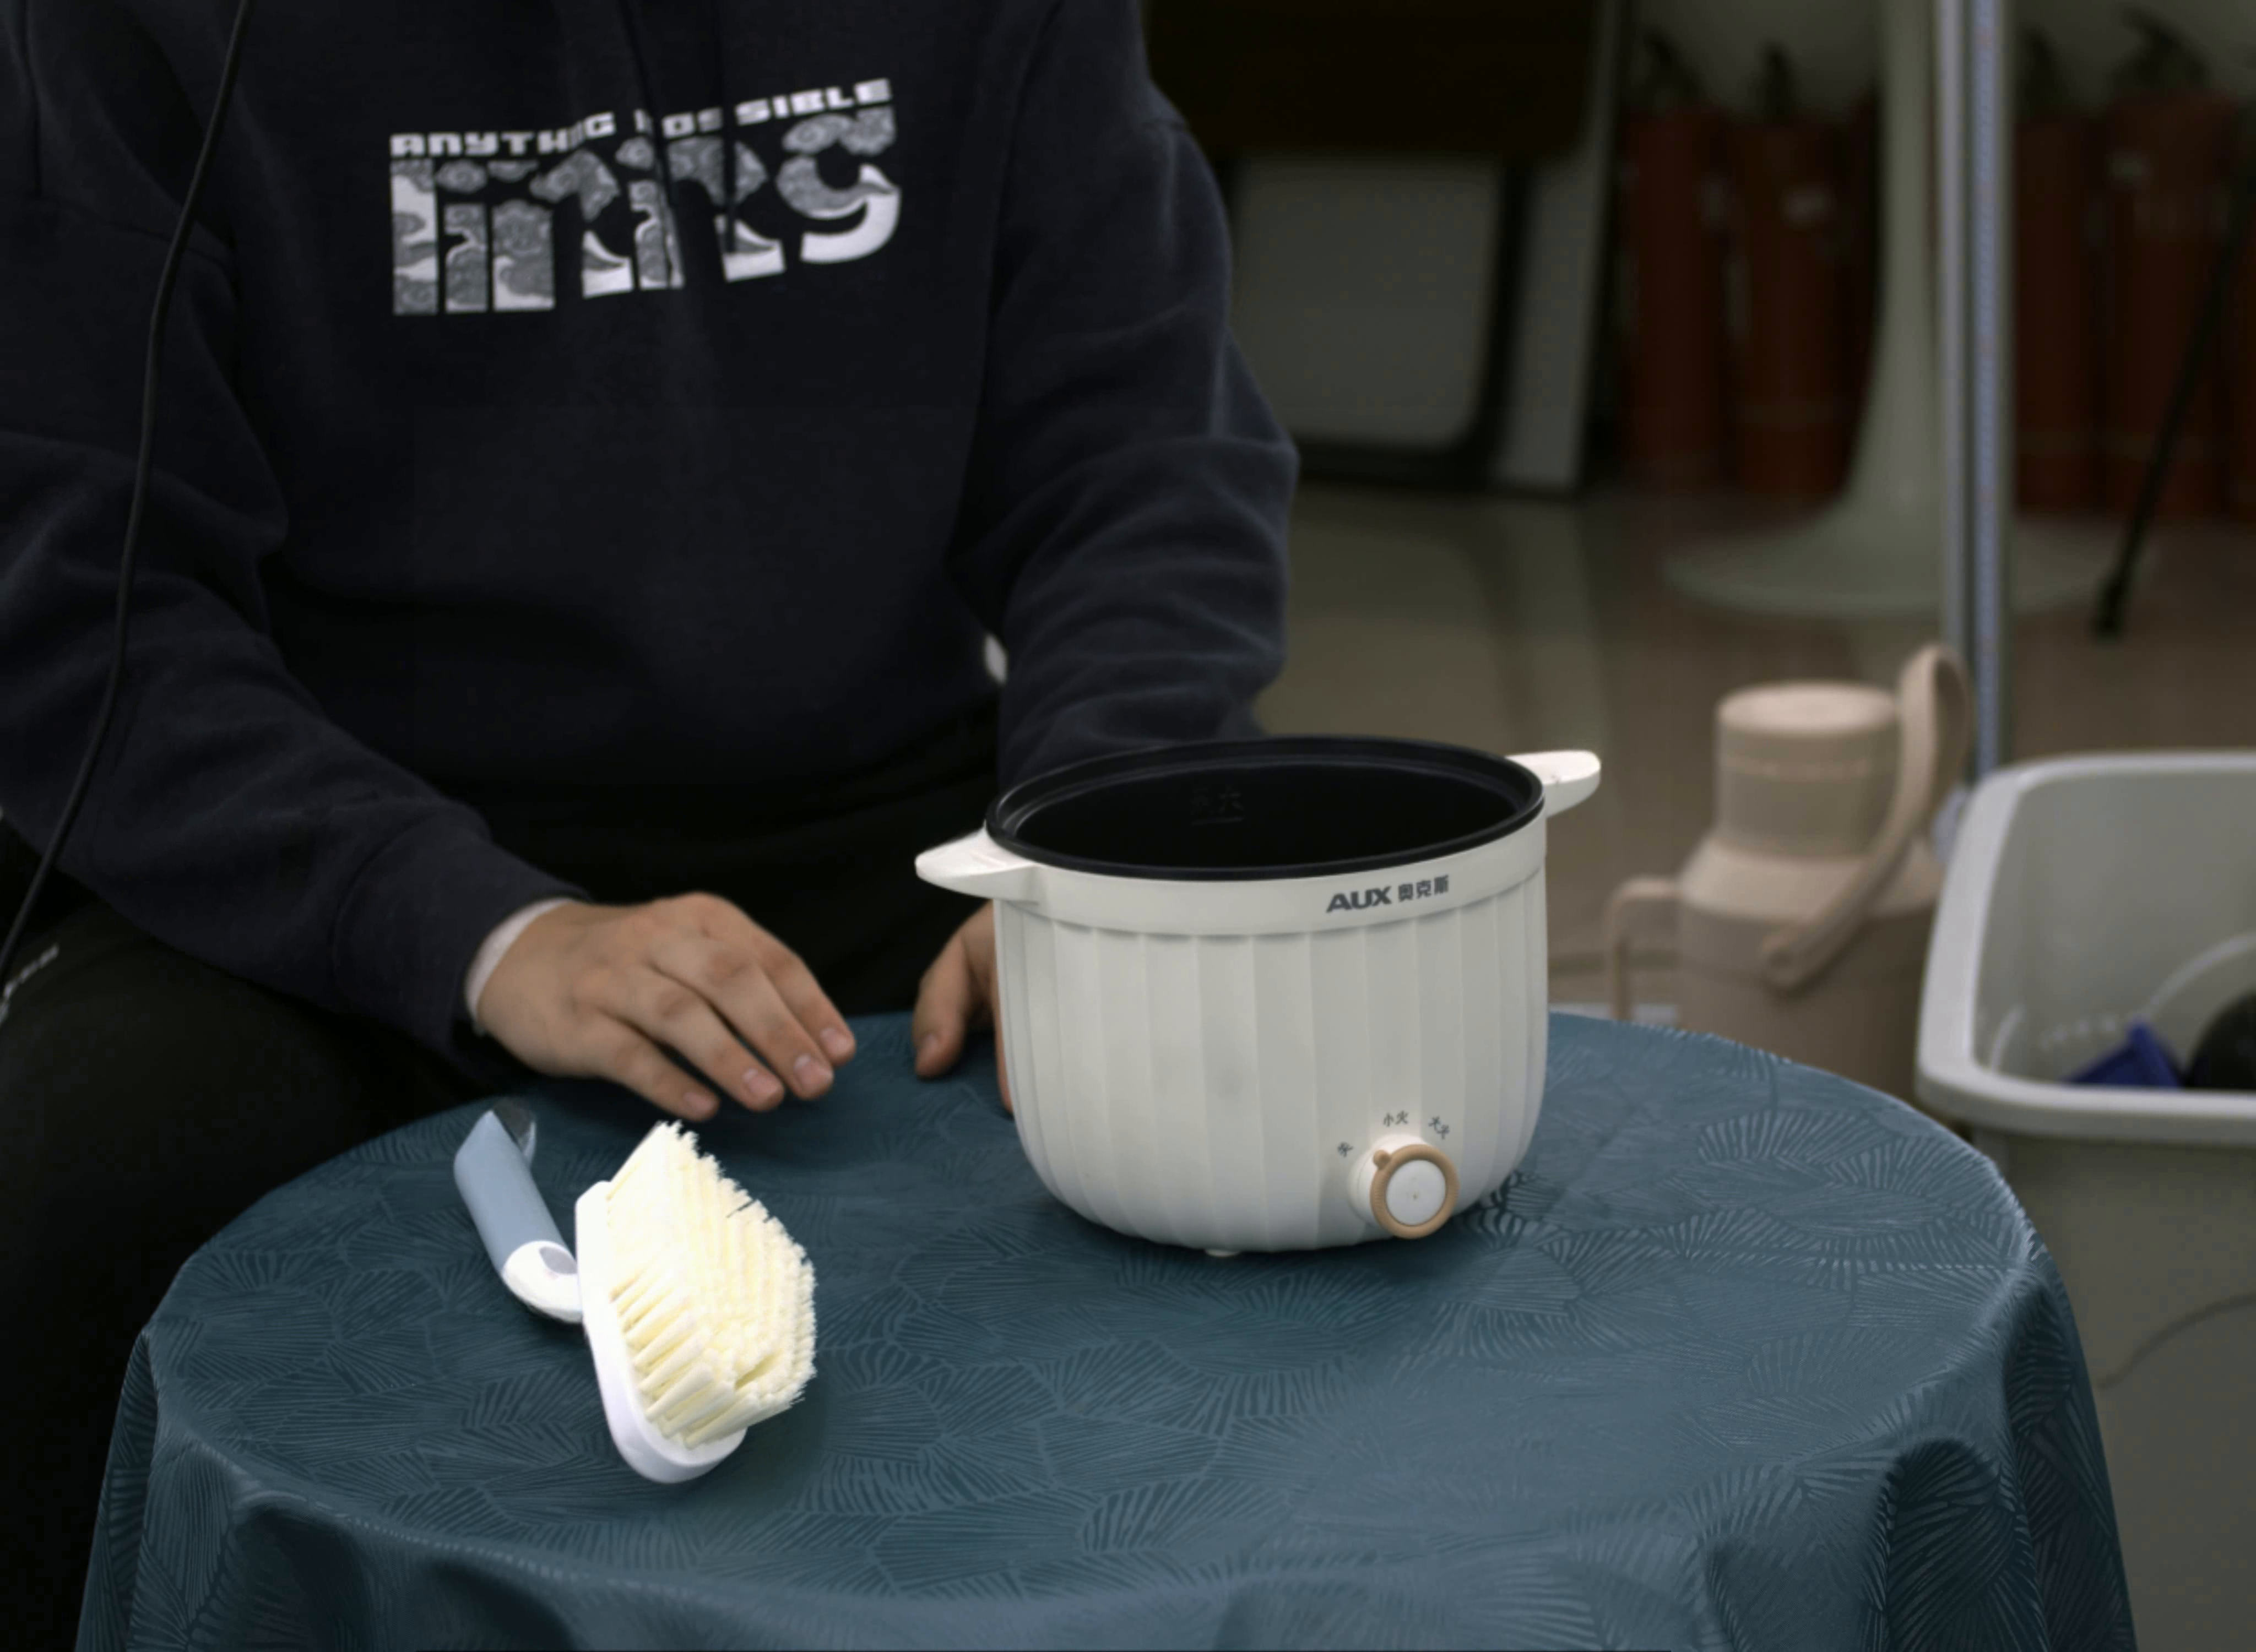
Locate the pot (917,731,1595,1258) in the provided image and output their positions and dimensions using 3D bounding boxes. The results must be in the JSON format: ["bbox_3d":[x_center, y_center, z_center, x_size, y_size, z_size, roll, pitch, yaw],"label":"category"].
[{"bbox_3d":[0.051,0.055,1.735,0.235,0.144,0.192,-10,12,-21],"label":"pot"}]

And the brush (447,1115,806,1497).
[{"bbox_3d":[-0.154,0.117,1.663,0.083,0.084,0.328,-10,16,-12],"label":"brush"}]
